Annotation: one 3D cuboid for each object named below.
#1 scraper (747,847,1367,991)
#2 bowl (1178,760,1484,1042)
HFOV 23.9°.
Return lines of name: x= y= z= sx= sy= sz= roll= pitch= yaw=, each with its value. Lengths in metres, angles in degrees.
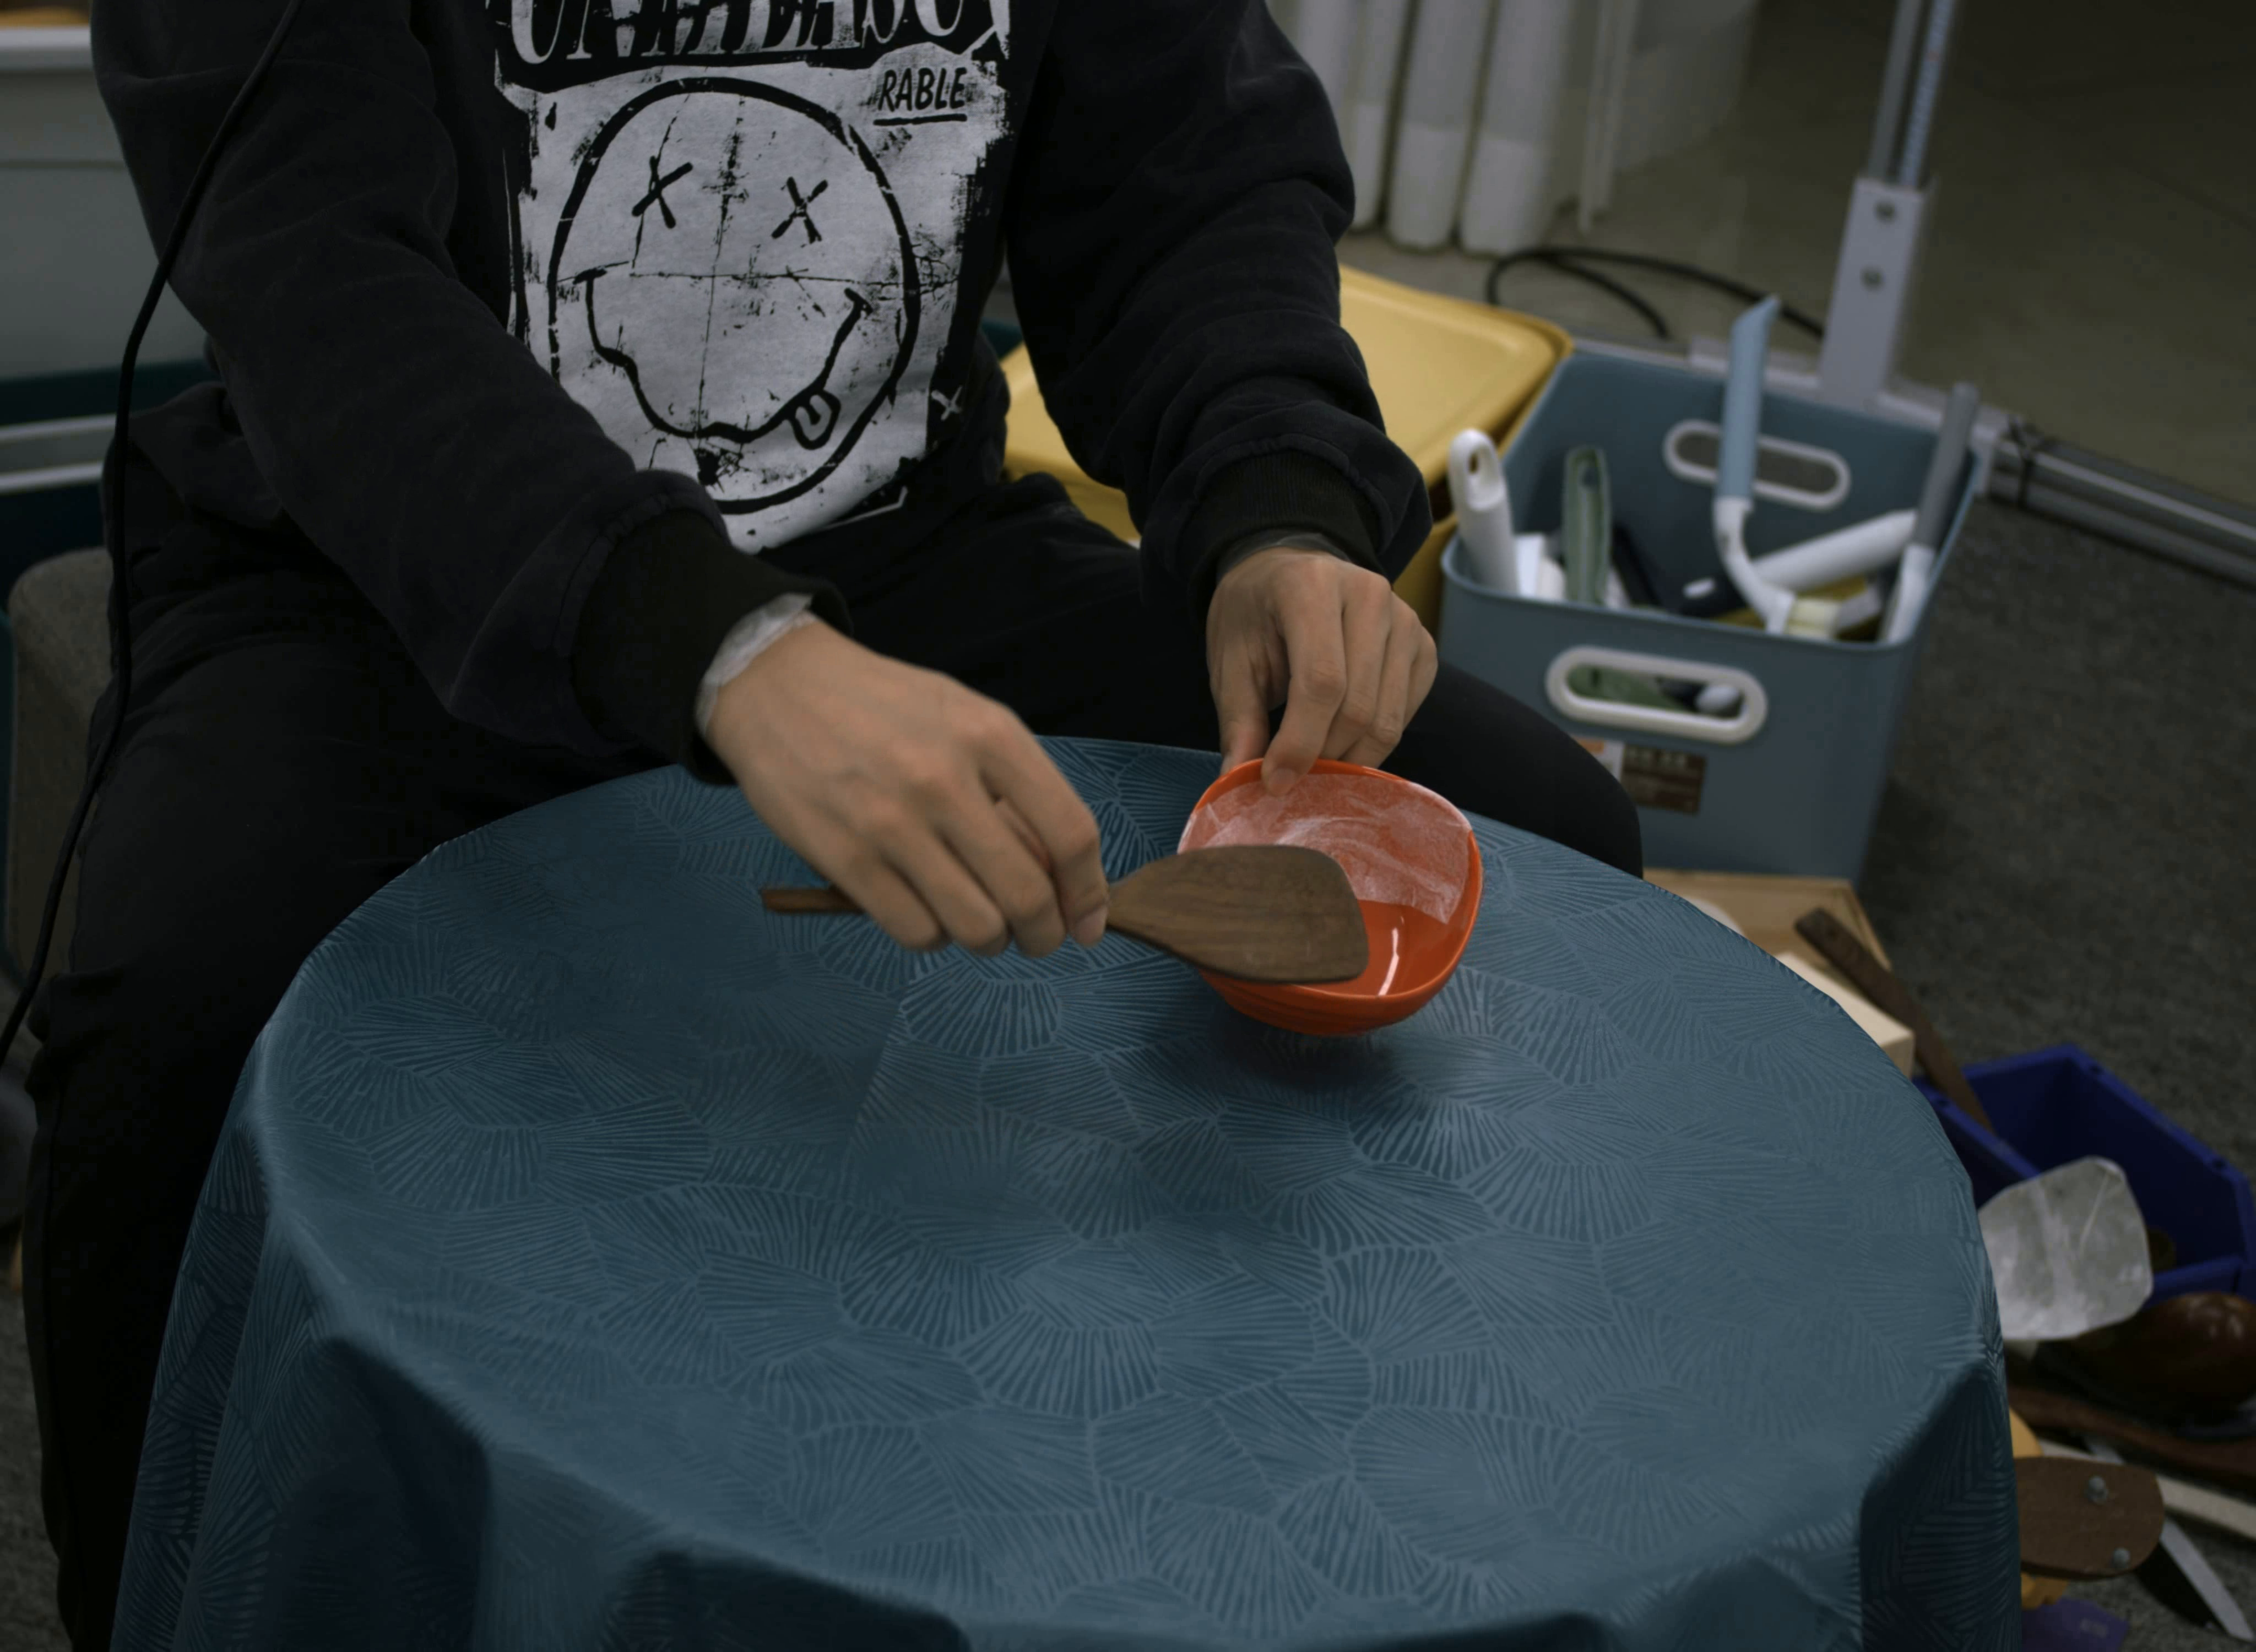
scraper: x=-0.024 y=0.027 z=1.796 sx=0.210 sy=0.011 sz=0.076 roll=3 pitch=37 yaw=-12
bowl: x=0.070 y=0.035 z=1.913 sx=0.118 sy=0.051 sz=0.120 roll=3 pitch=50 yaw=-4
